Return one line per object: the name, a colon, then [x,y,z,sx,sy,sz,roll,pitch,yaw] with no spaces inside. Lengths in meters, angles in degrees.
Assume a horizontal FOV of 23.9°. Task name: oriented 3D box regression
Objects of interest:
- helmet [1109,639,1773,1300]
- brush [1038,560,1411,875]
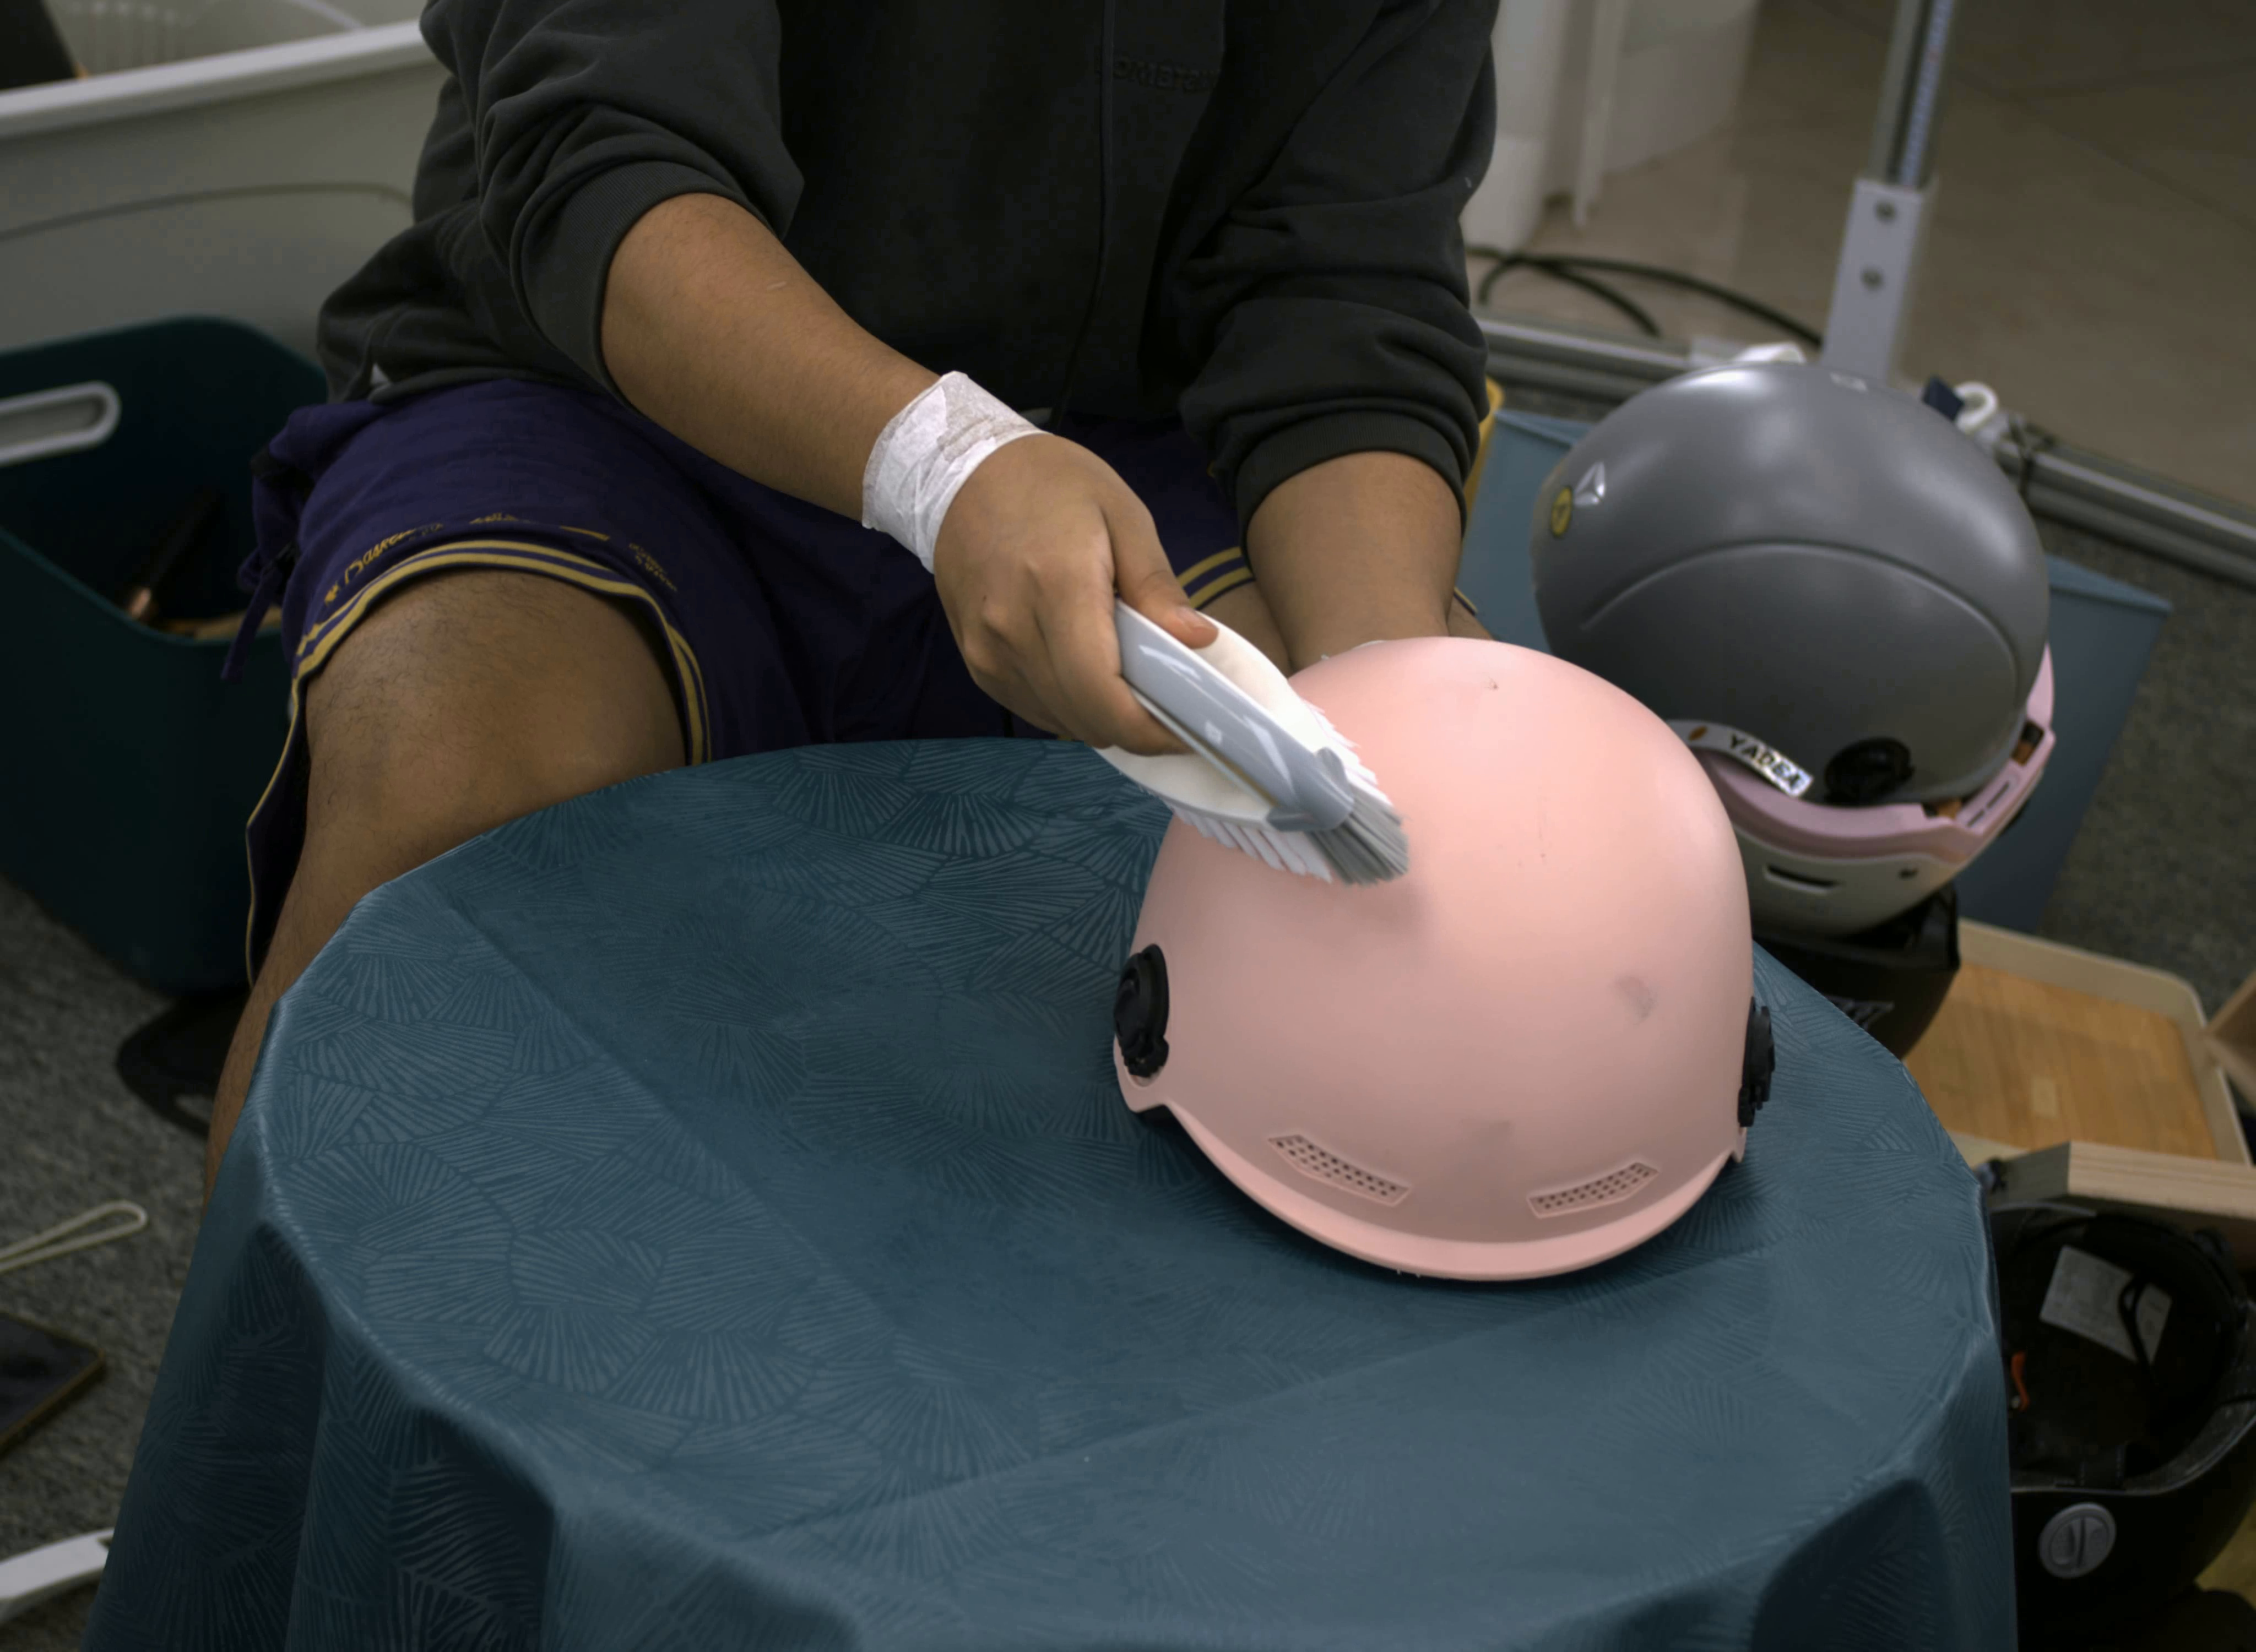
helmet: [0.114,0.030,1.845,0.233,0.158,0.268,5,31,-4]
brush: [0.027,-0.041,1.773,0.093,0.061,0.177,40,0,-36]
